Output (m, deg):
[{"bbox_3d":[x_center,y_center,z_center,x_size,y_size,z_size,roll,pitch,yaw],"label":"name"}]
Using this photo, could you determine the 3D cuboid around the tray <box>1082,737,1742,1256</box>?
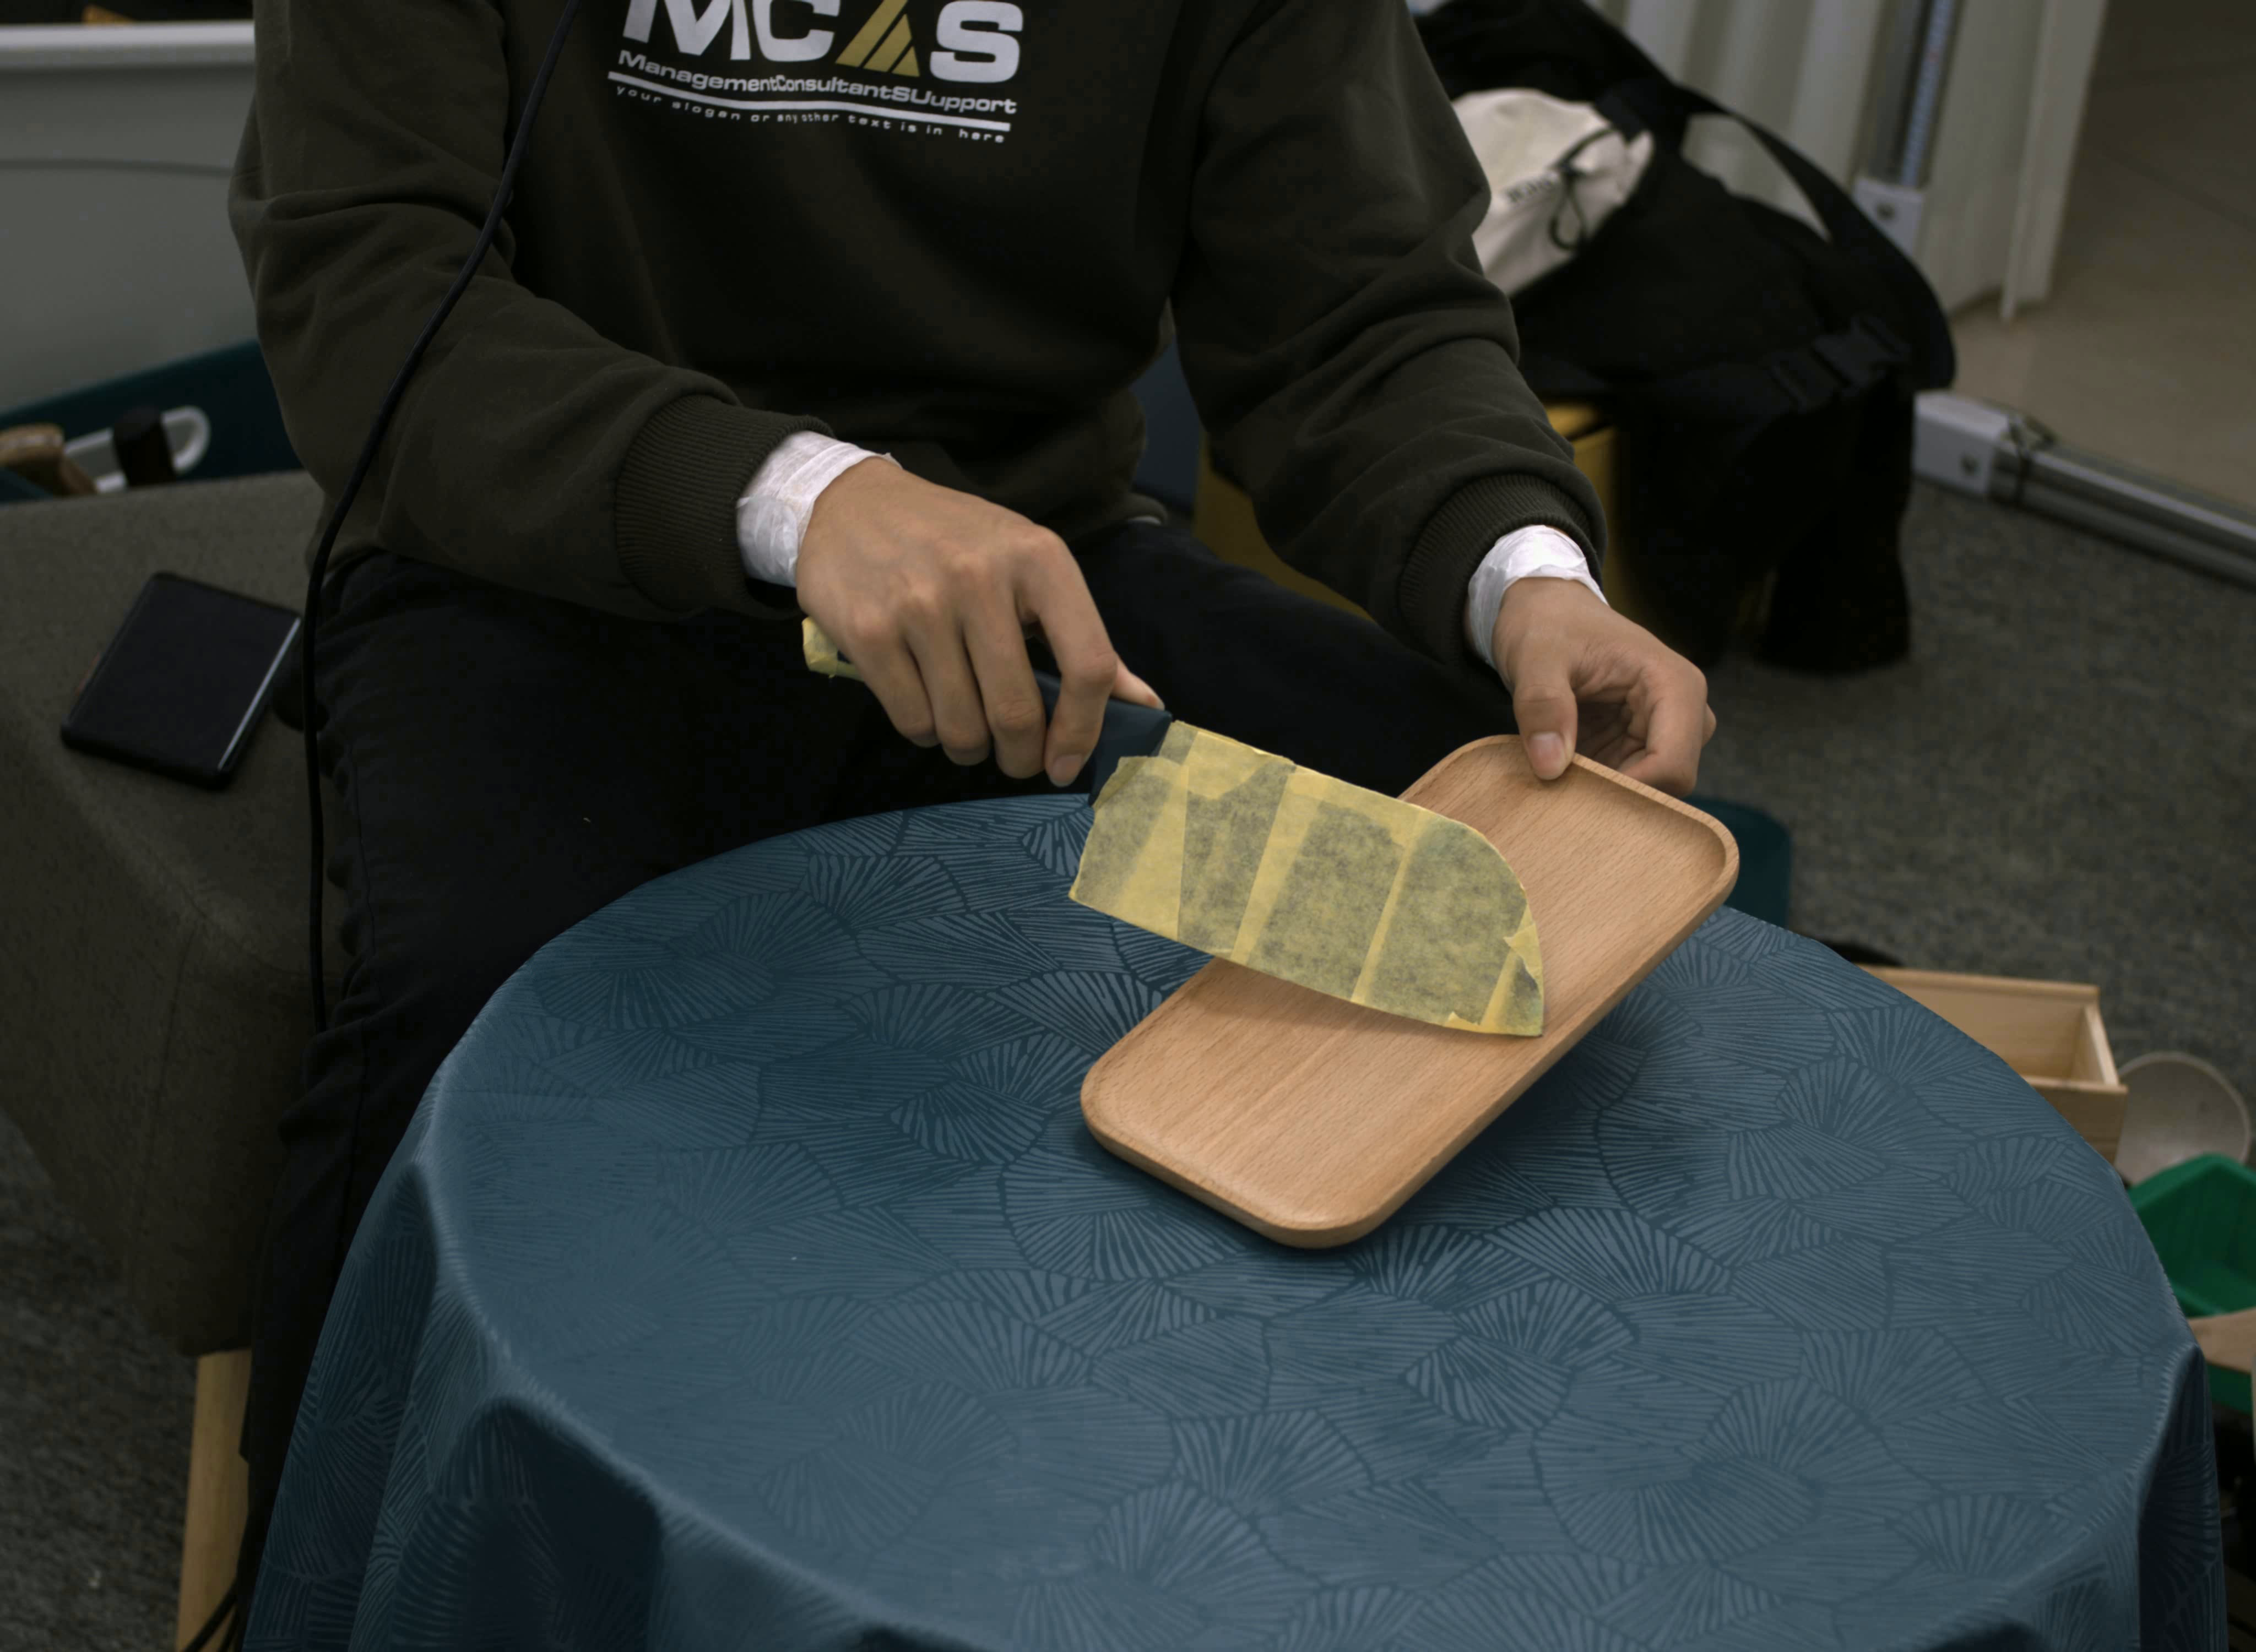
[{"bbox_3d":[0.102,0.057,1.862,0.131,0.023,0.250,24,51,36],"label":"tray"}]

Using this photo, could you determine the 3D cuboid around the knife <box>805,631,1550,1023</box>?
[{"bbox_3d":[0.014,-0.001,1.860,0.290,0.081,0.027,22,-1,11],"label":"knife"}]
